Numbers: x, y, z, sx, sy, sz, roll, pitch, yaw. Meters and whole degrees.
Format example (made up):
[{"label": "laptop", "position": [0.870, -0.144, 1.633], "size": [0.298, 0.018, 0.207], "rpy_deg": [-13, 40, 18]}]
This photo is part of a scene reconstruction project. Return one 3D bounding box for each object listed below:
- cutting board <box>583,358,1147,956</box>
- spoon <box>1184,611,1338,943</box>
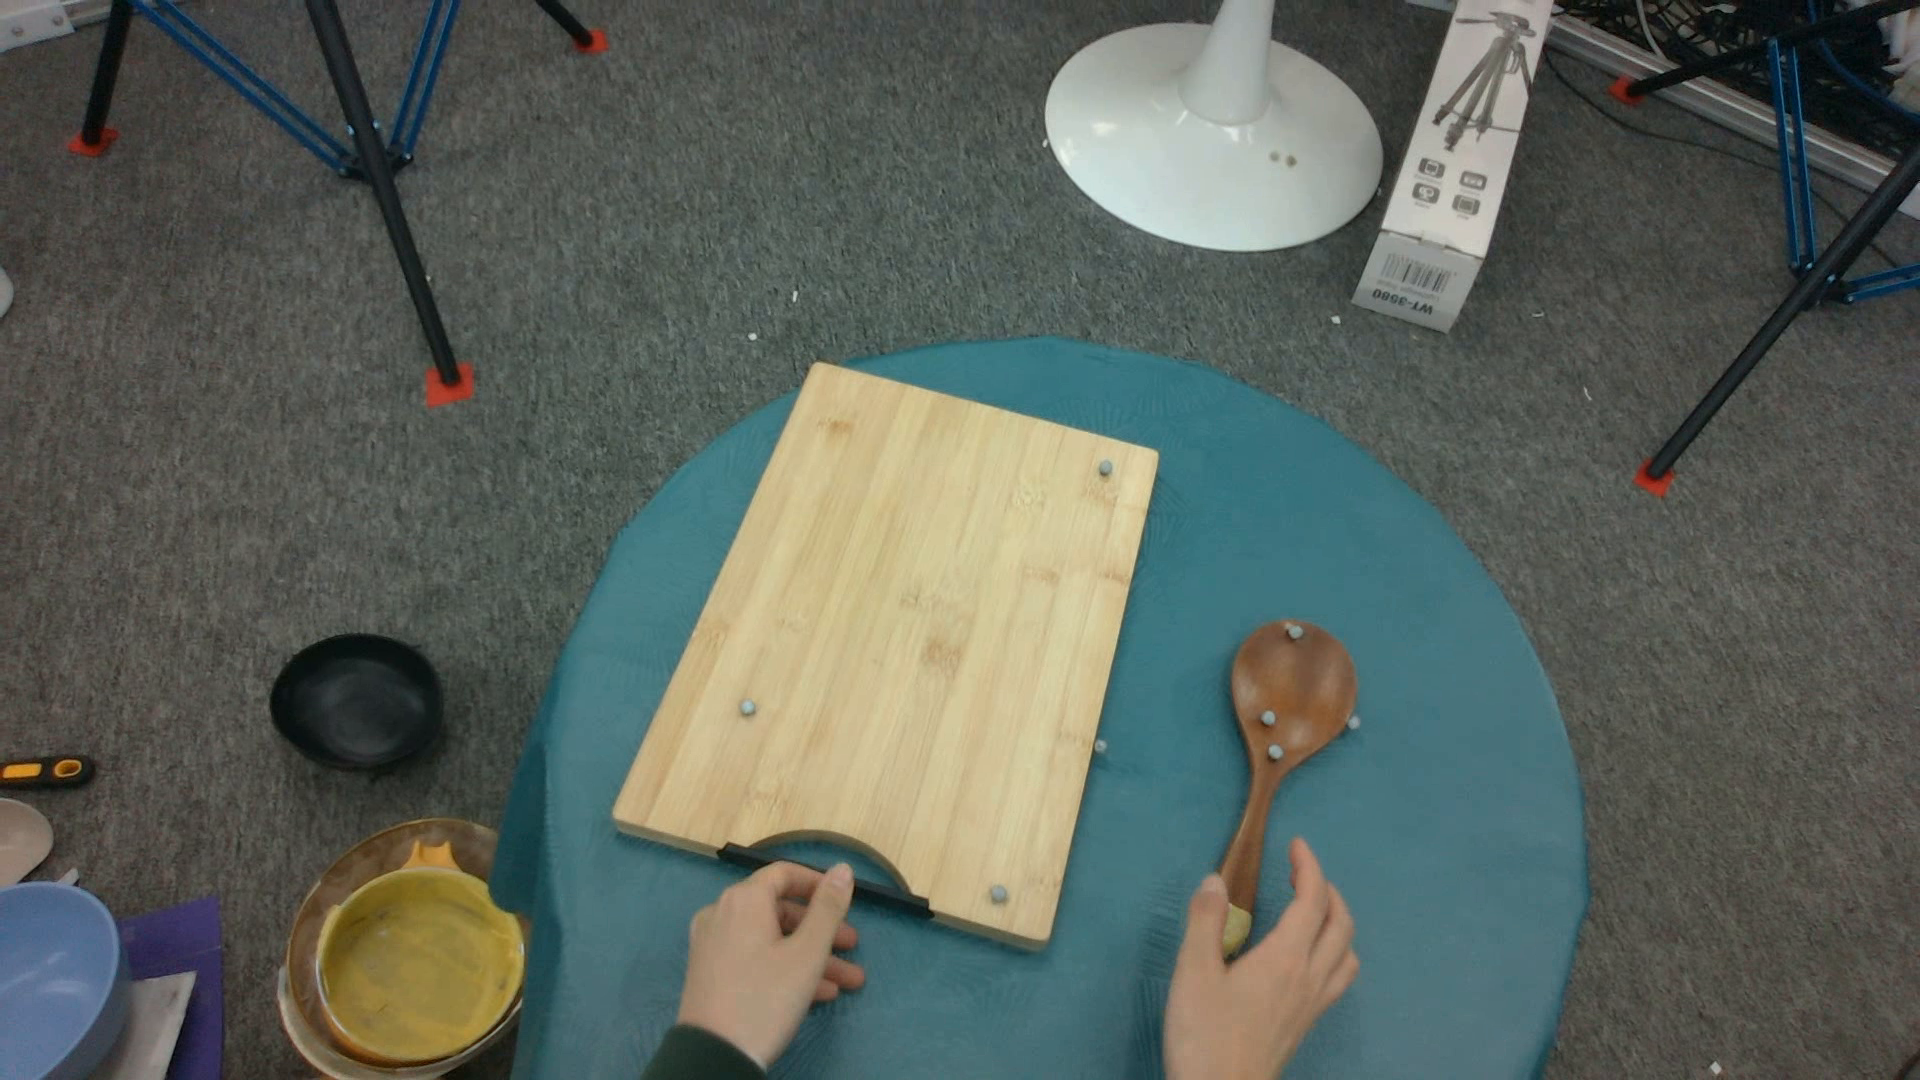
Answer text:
[{"label": "cutting board", "position": [-0.038, 0.049, 0.819], "size": [0.250, 0.023, 0.350], "rpy_deg": [14, 55, 4]}, {"label": "spoon", "position": [0.165, 0.130, 0.786], "size": [0.075, 0.017, 0.217], "rpy_deg": [21, 55, 6]}]
